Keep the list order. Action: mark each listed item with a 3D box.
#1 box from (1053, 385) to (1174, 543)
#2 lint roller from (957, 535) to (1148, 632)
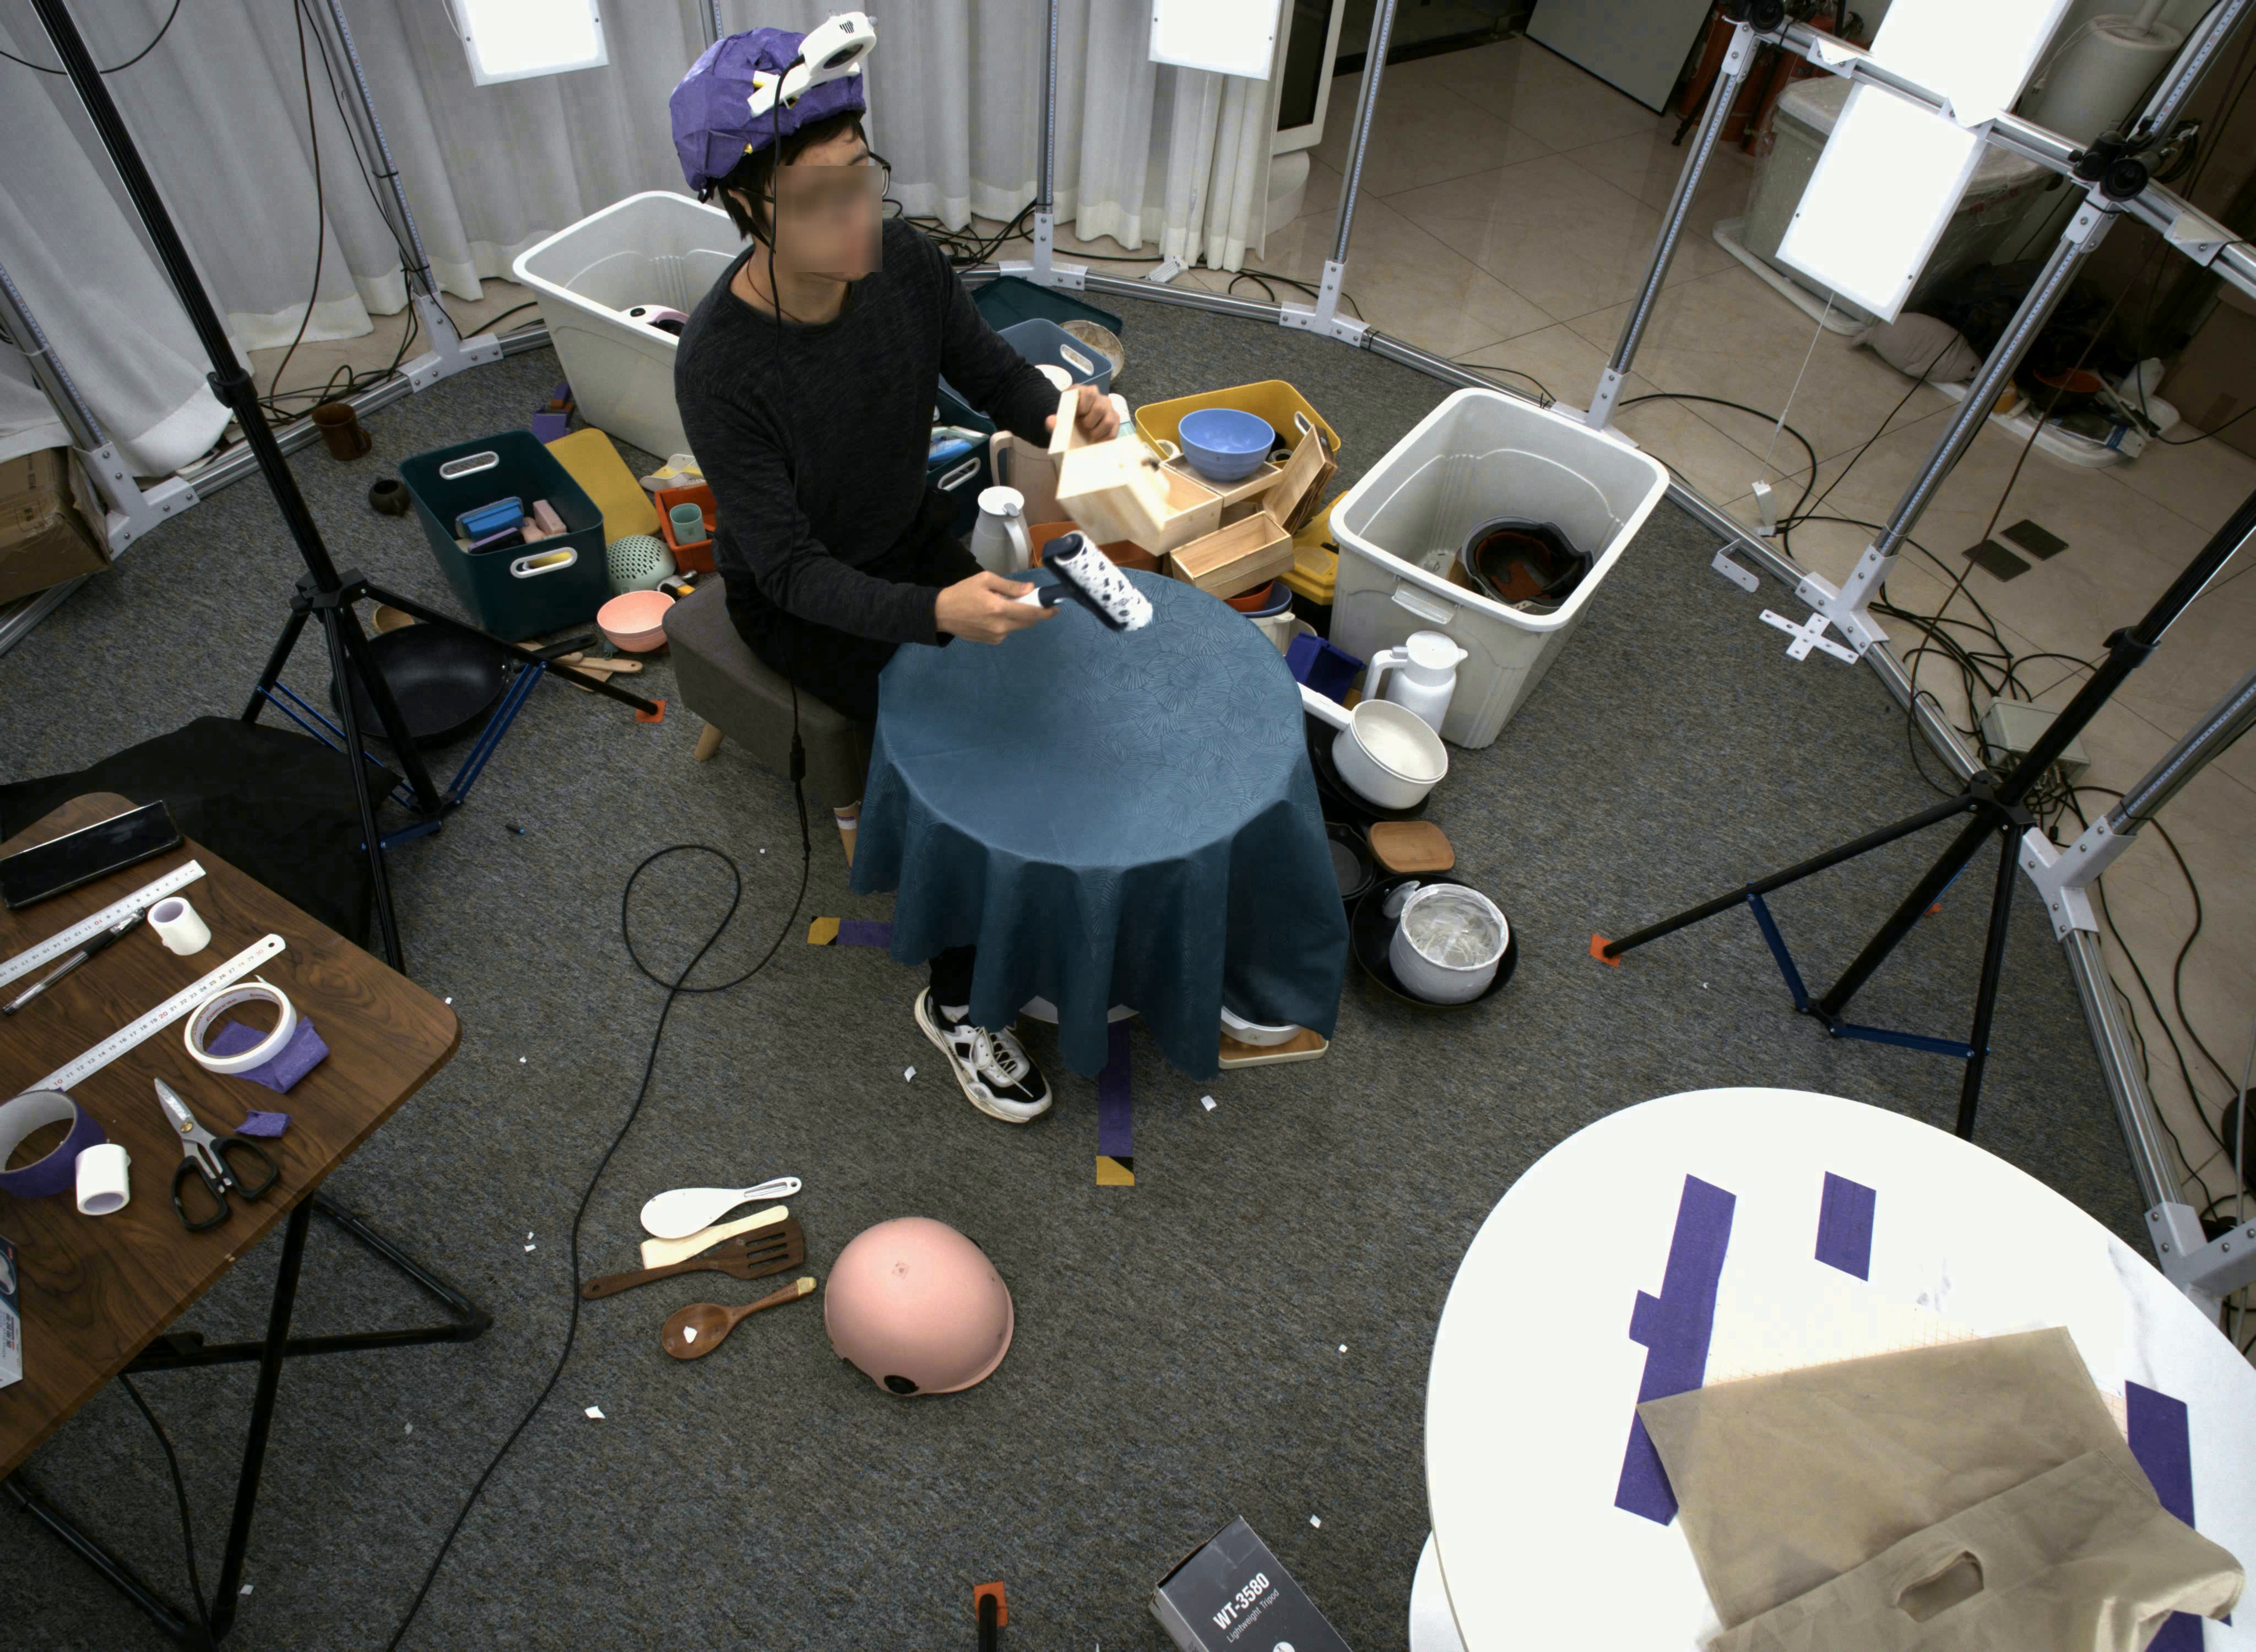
[{"bbox_3d":[-0.014,-0.473,1.650,0.134,0.100,0.188,-7,60,26],"label":"box"},{"bbox_3d":[-0.118,-0.285,1.650,0.247,0.173,0.051,-11,62,31],"label":"lint roller"}]
